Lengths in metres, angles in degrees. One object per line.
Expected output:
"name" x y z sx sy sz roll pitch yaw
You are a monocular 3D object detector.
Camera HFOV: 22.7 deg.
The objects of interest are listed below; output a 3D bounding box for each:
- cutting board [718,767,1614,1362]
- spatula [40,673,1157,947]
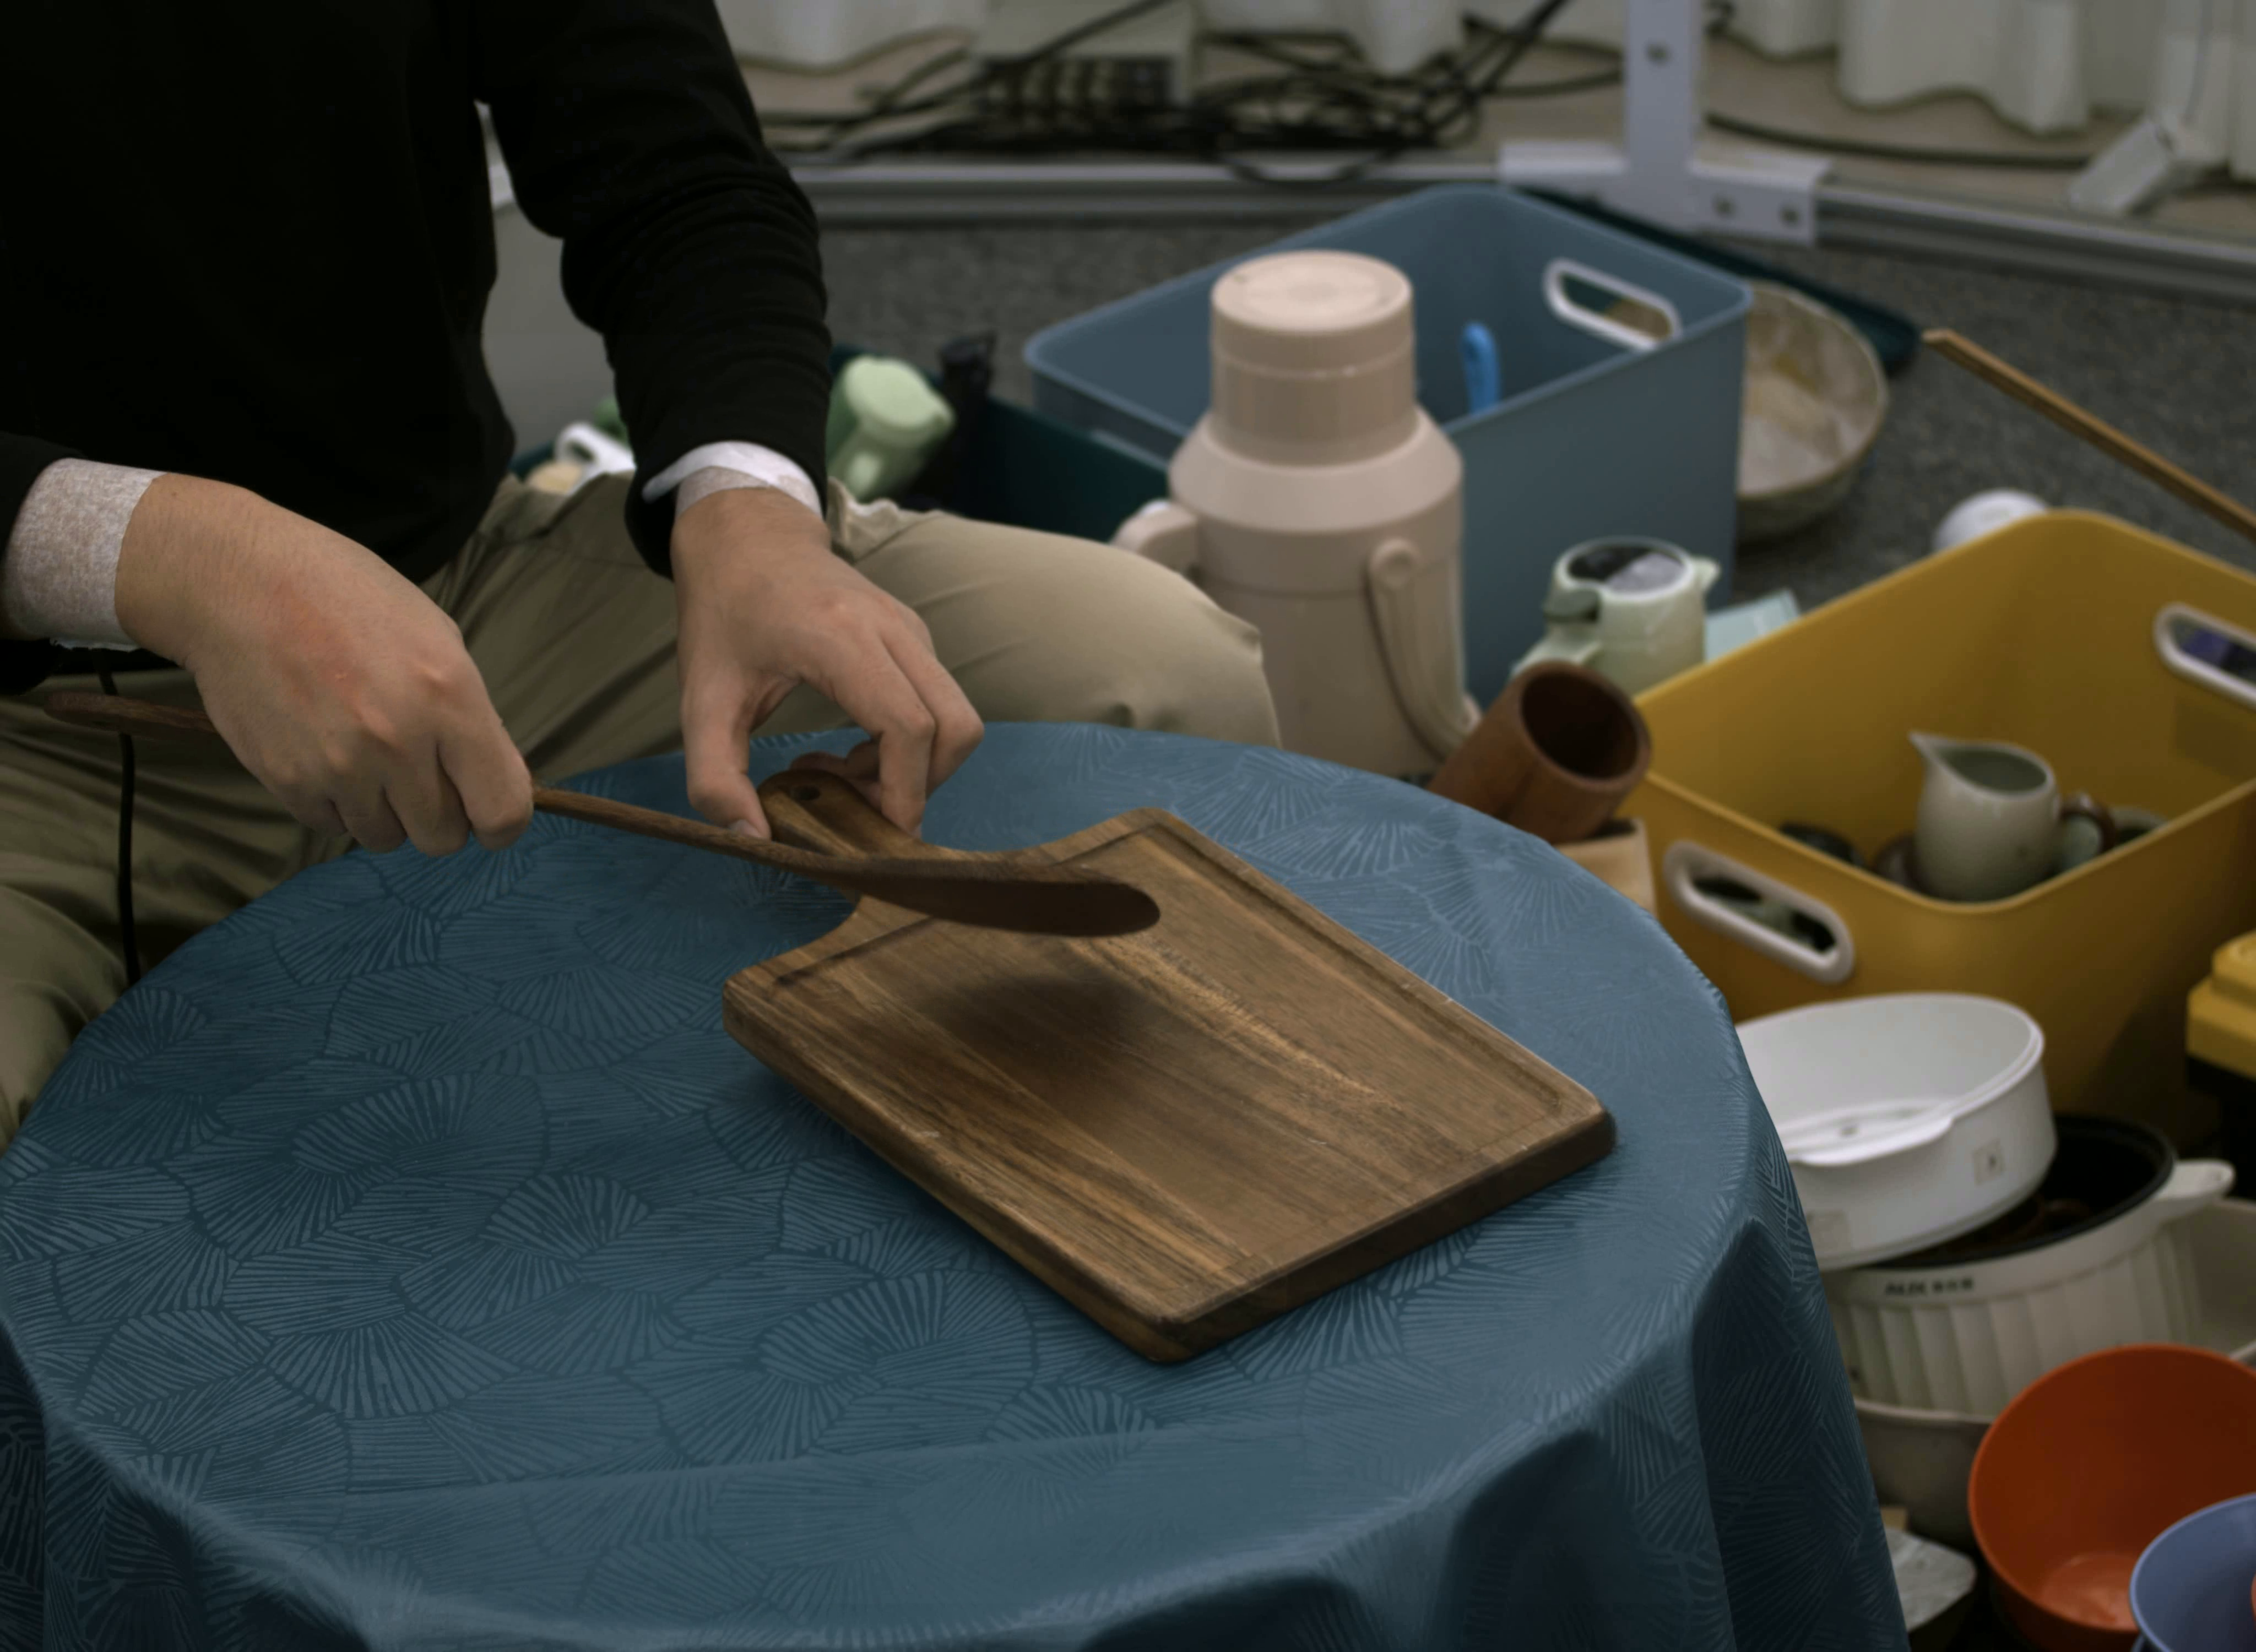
"cutting board" -0.020 0.060 1.928 0.203 0.023 0.353 -22 38 -33
"spatula" -0.178 -0.006 1.893 0.384 0.016 0.095 13 -13 2
